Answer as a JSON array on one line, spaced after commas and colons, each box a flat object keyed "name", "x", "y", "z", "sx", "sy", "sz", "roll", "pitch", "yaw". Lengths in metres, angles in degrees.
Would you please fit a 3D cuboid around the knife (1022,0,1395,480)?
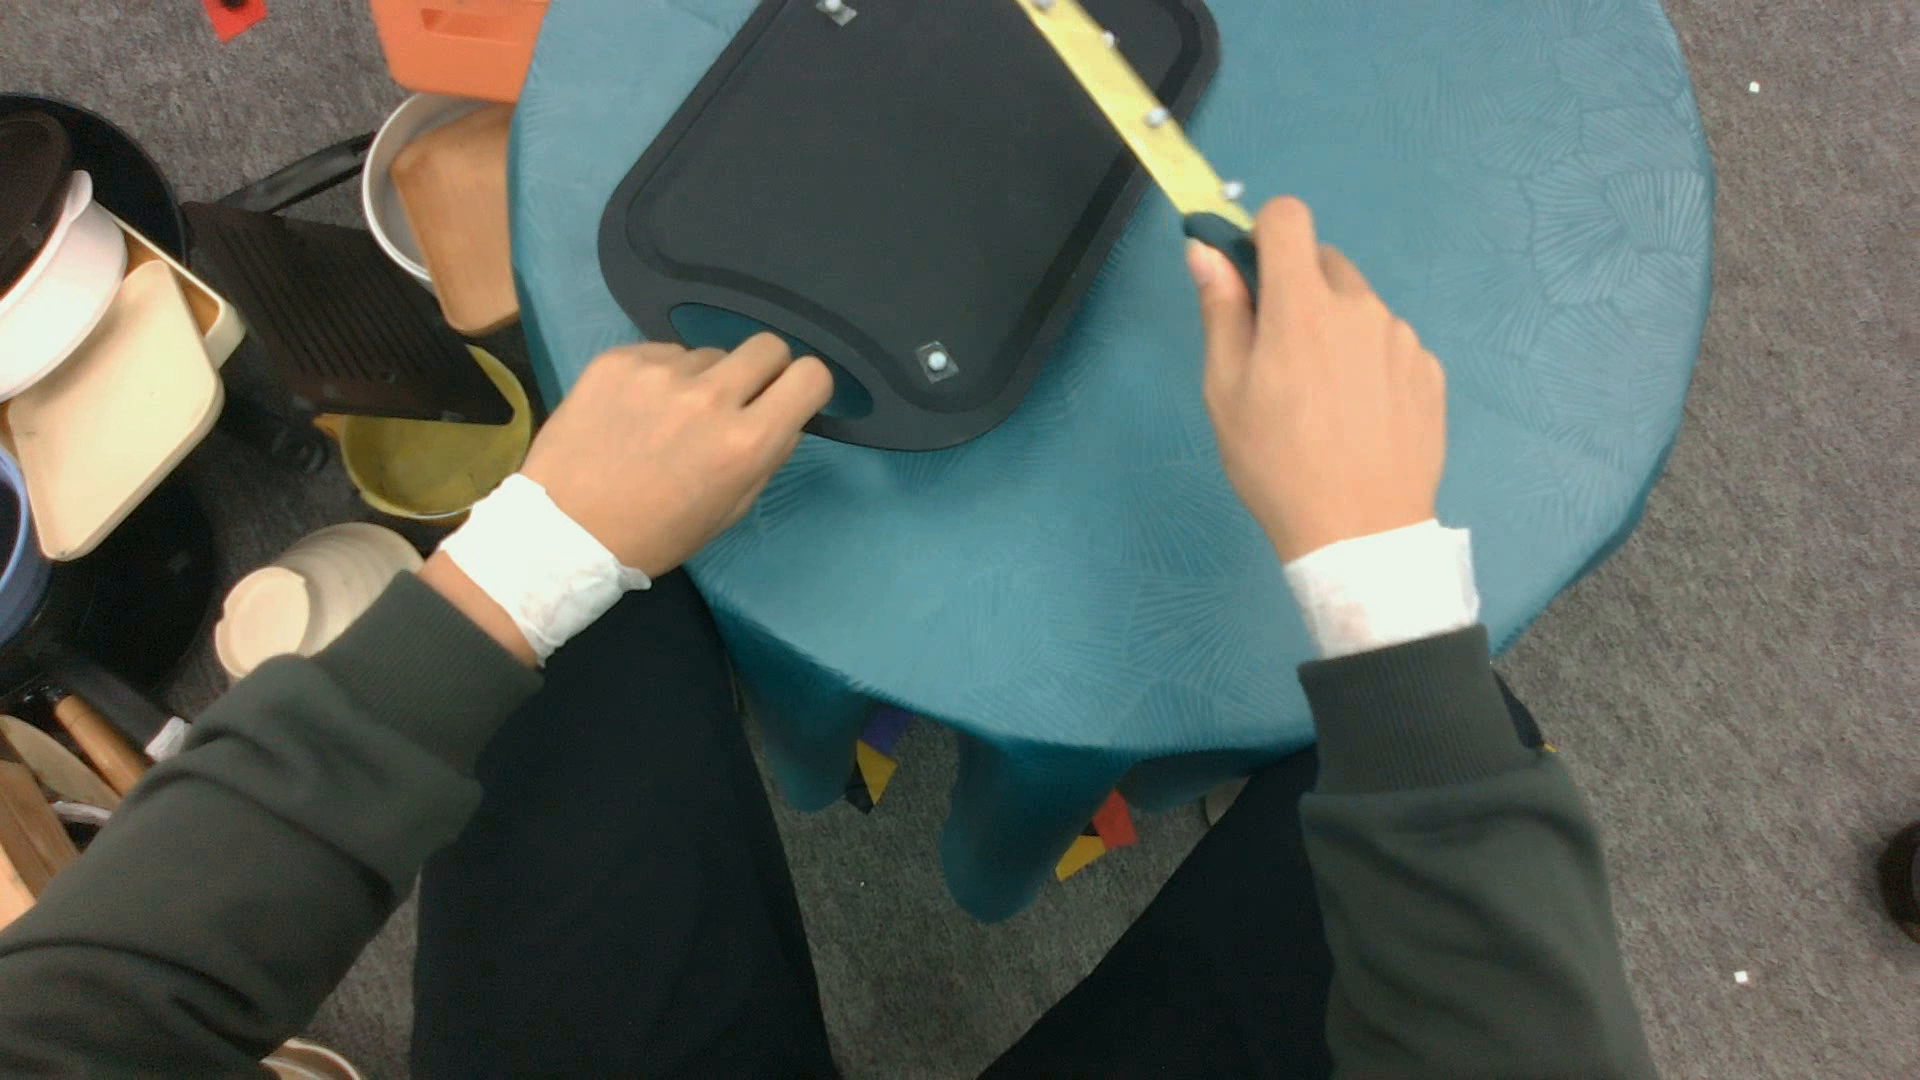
[{"name": "knife", "x": 0.096, "y": -0.150, "z": 0.577, "sx": 0.289, "sy": 0.027, "sz": 0.081, "roll": 57, "pitch": 37, "yaw": 3}]

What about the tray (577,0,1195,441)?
[{"name": "tray", "x": -0.029, "y": -0.193, "z": 0.655, "sx": 0.211, "sy": 0.010, "sz": 0.326, "roll": 28, "pitch": 66, "yaw": 4}]
